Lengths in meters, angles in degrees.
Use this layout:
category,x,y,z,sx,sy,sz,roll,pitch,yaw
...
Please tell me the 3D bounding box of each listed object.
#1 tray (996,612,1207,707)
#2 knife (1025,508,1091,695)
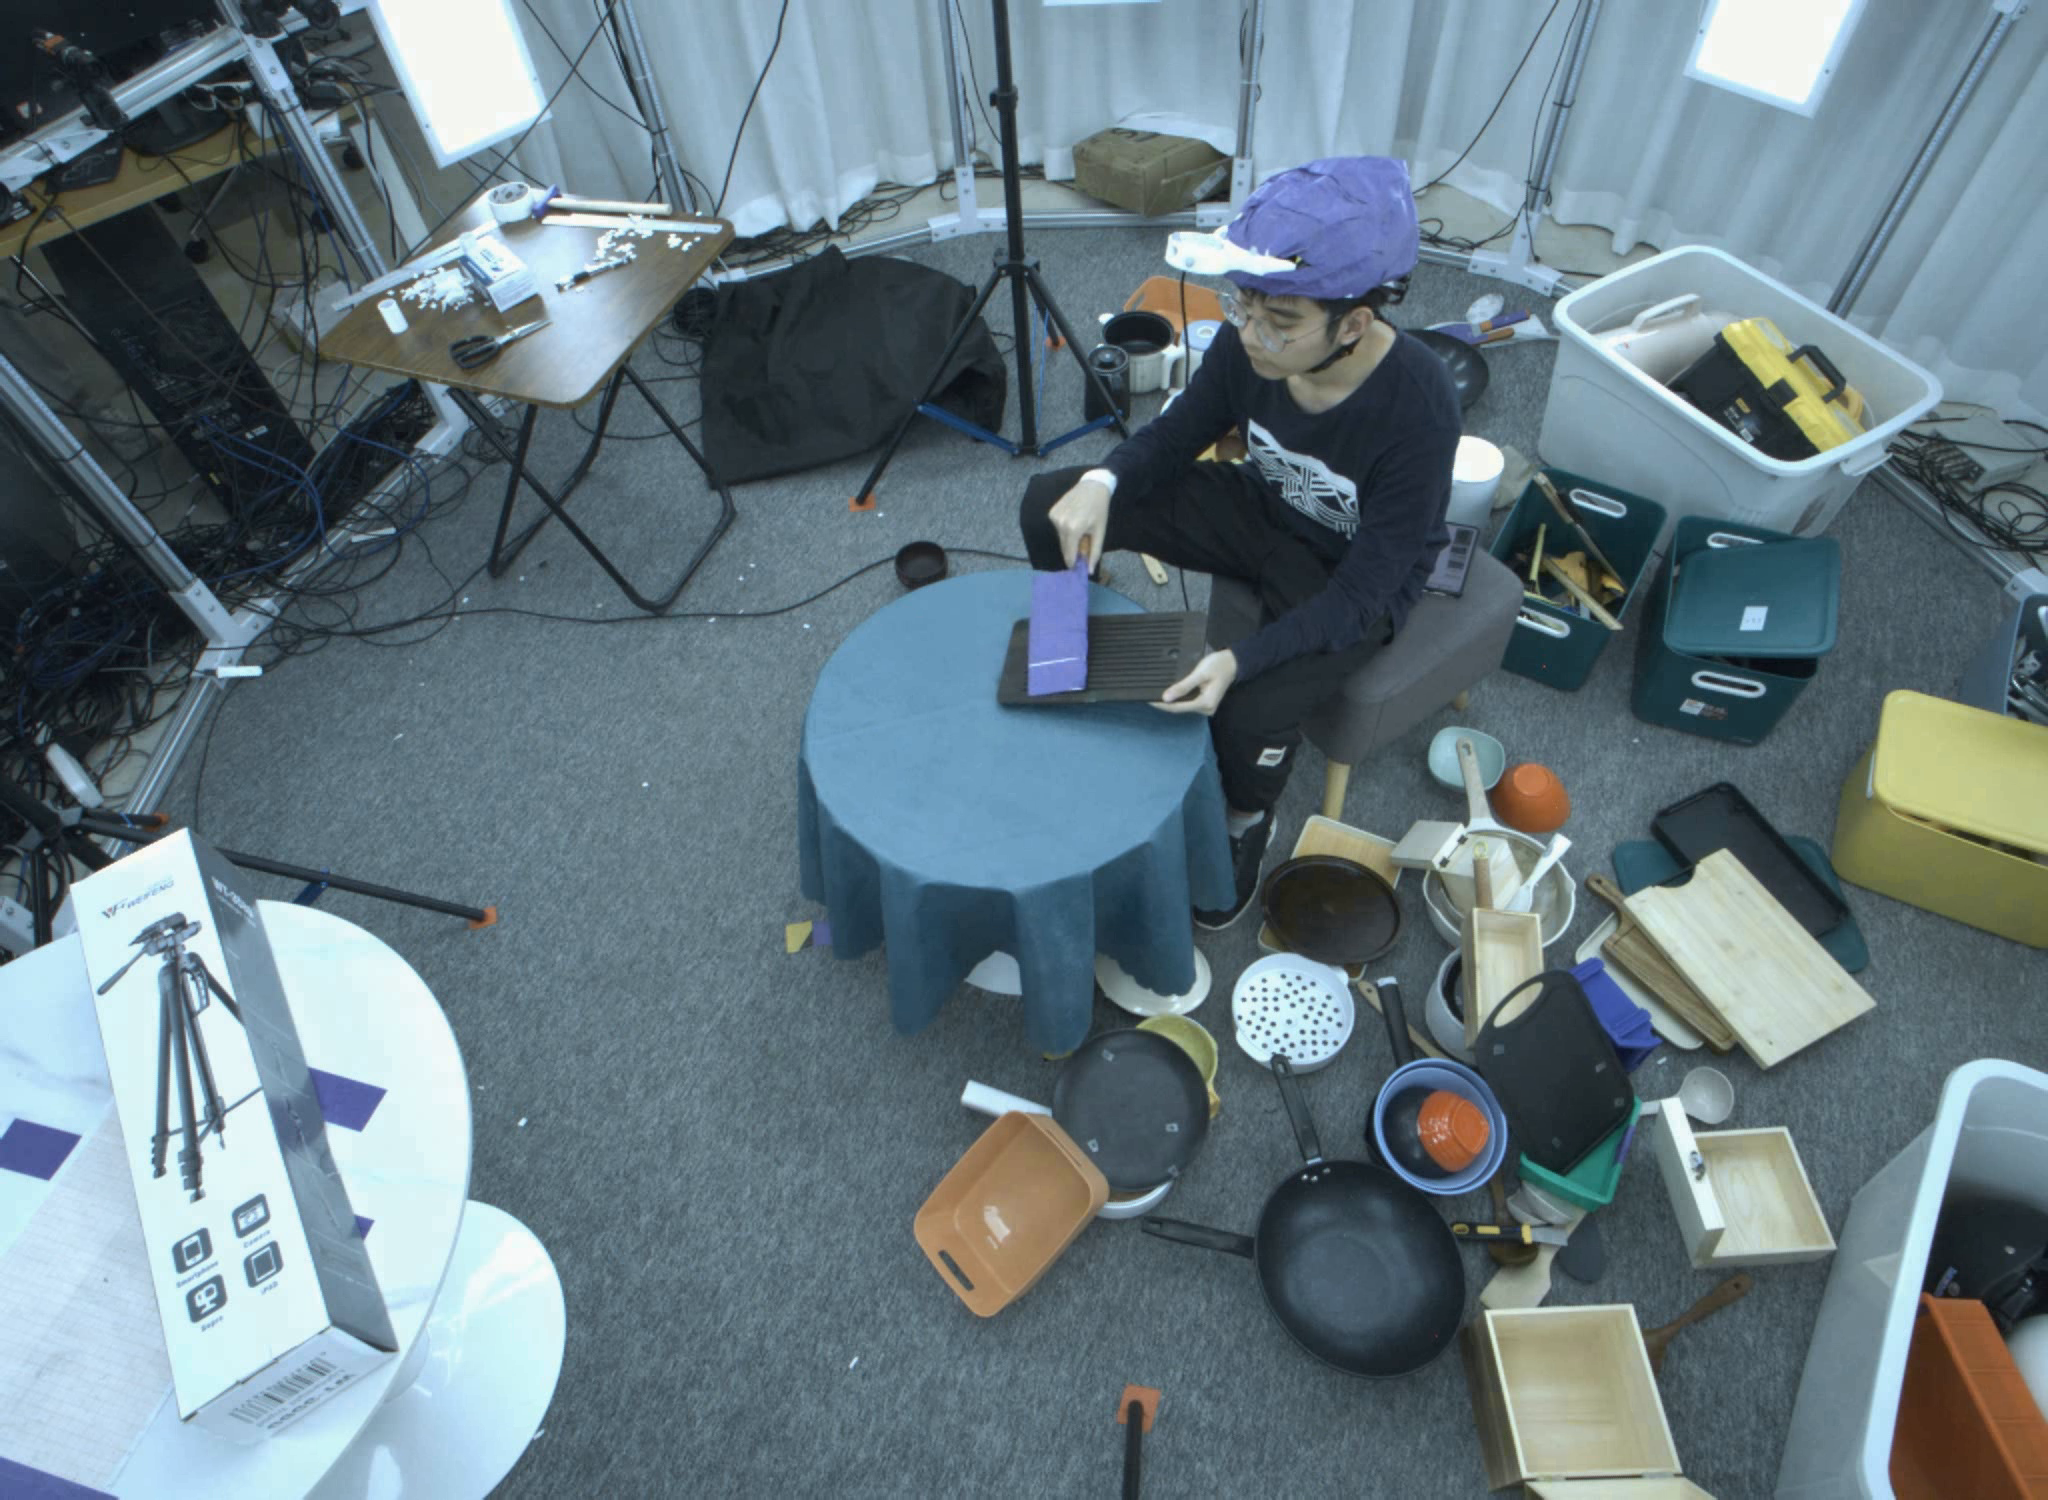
category,x,y,z,sx,sy,sz,roll,pitch,yaw
tray,0.117,-0.133,1.843,0.303,0.019,0.169,0,54,15
knife,0.054,-0.229,1.867,0.103,0.033,0.313,-5,64,16
